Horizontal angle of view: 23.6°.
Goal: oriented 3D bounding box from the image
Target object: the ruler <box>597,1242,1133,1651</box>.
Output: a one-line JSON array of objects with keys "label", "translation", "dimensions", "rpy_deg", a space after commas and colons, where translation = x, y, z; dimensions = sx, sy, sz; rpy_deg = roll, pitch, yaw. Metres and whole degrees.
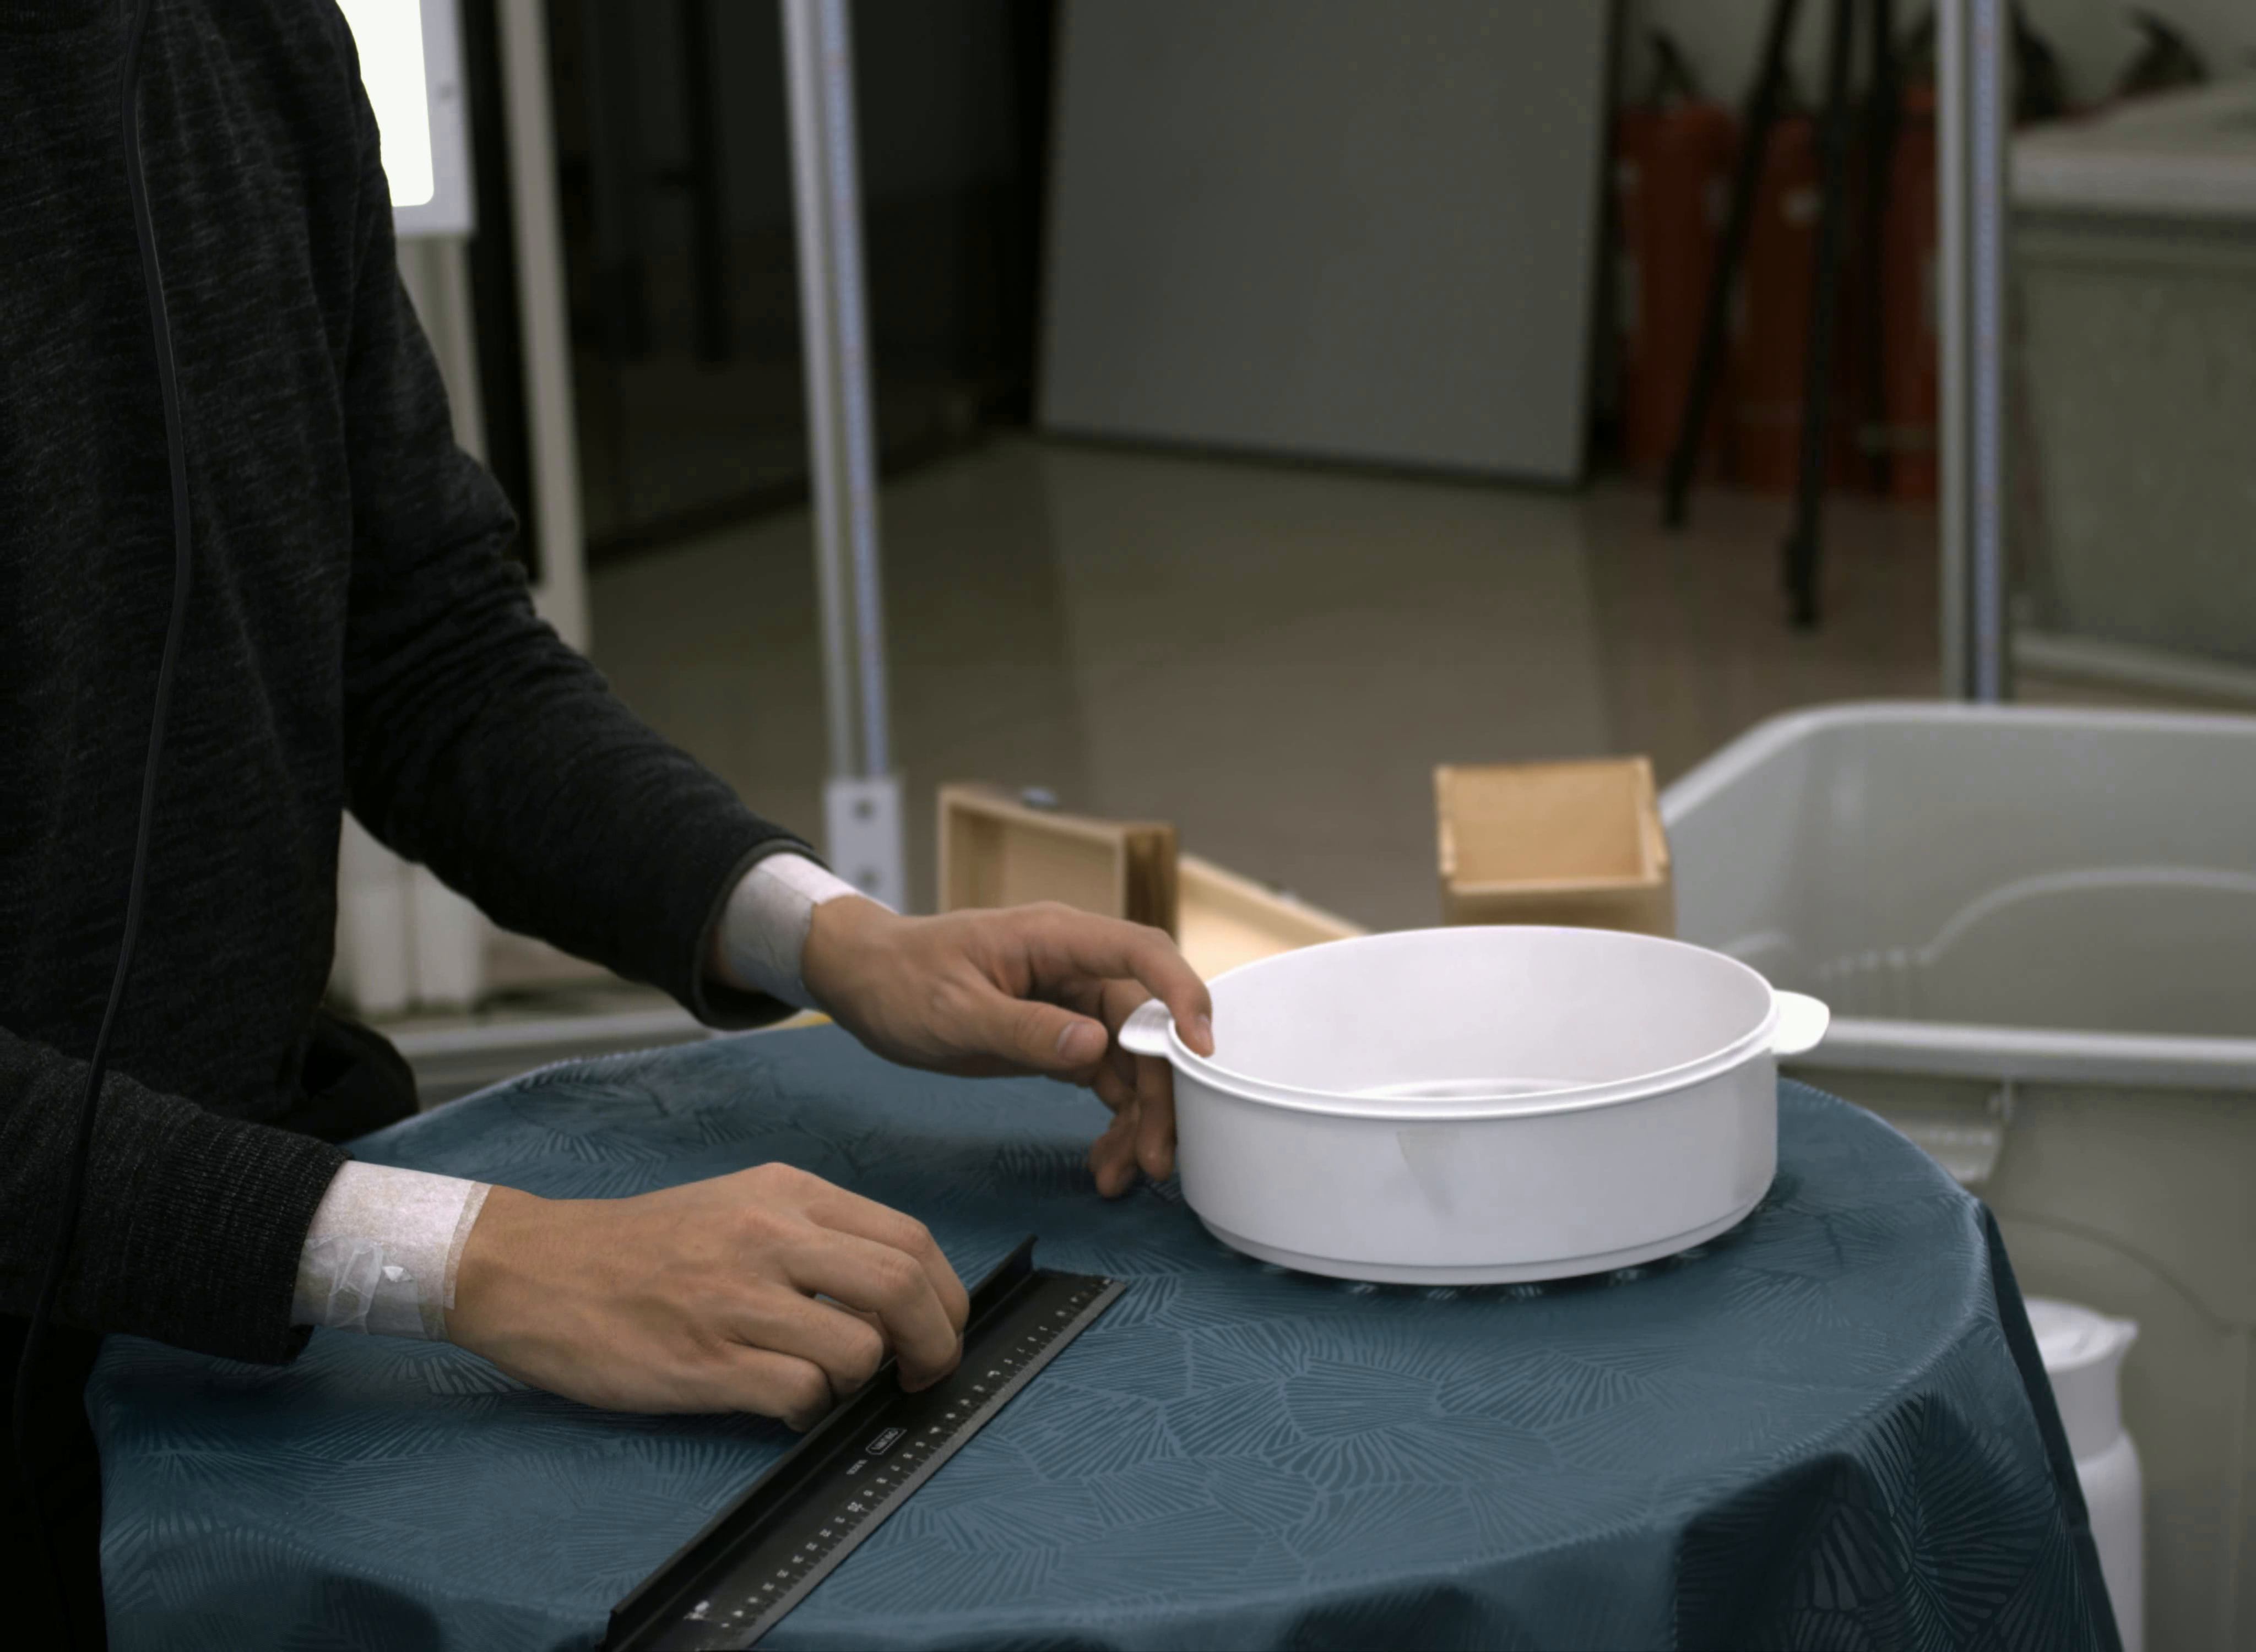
[{"label": "ruler", "translation": [-0.068, 0.174, 1.541], "dimensions": [0.039, 0.017, 0.309], "rpy_deg": [4, 16, 20]}]

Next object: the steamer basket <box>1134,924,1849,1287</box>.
[{"label": "steamer basket", "translation": [0.116, 0.088, 1.722], "dimensions": [0.229, 0.070, 0.200], "rpy_deg": [1, 14, 13]}]
